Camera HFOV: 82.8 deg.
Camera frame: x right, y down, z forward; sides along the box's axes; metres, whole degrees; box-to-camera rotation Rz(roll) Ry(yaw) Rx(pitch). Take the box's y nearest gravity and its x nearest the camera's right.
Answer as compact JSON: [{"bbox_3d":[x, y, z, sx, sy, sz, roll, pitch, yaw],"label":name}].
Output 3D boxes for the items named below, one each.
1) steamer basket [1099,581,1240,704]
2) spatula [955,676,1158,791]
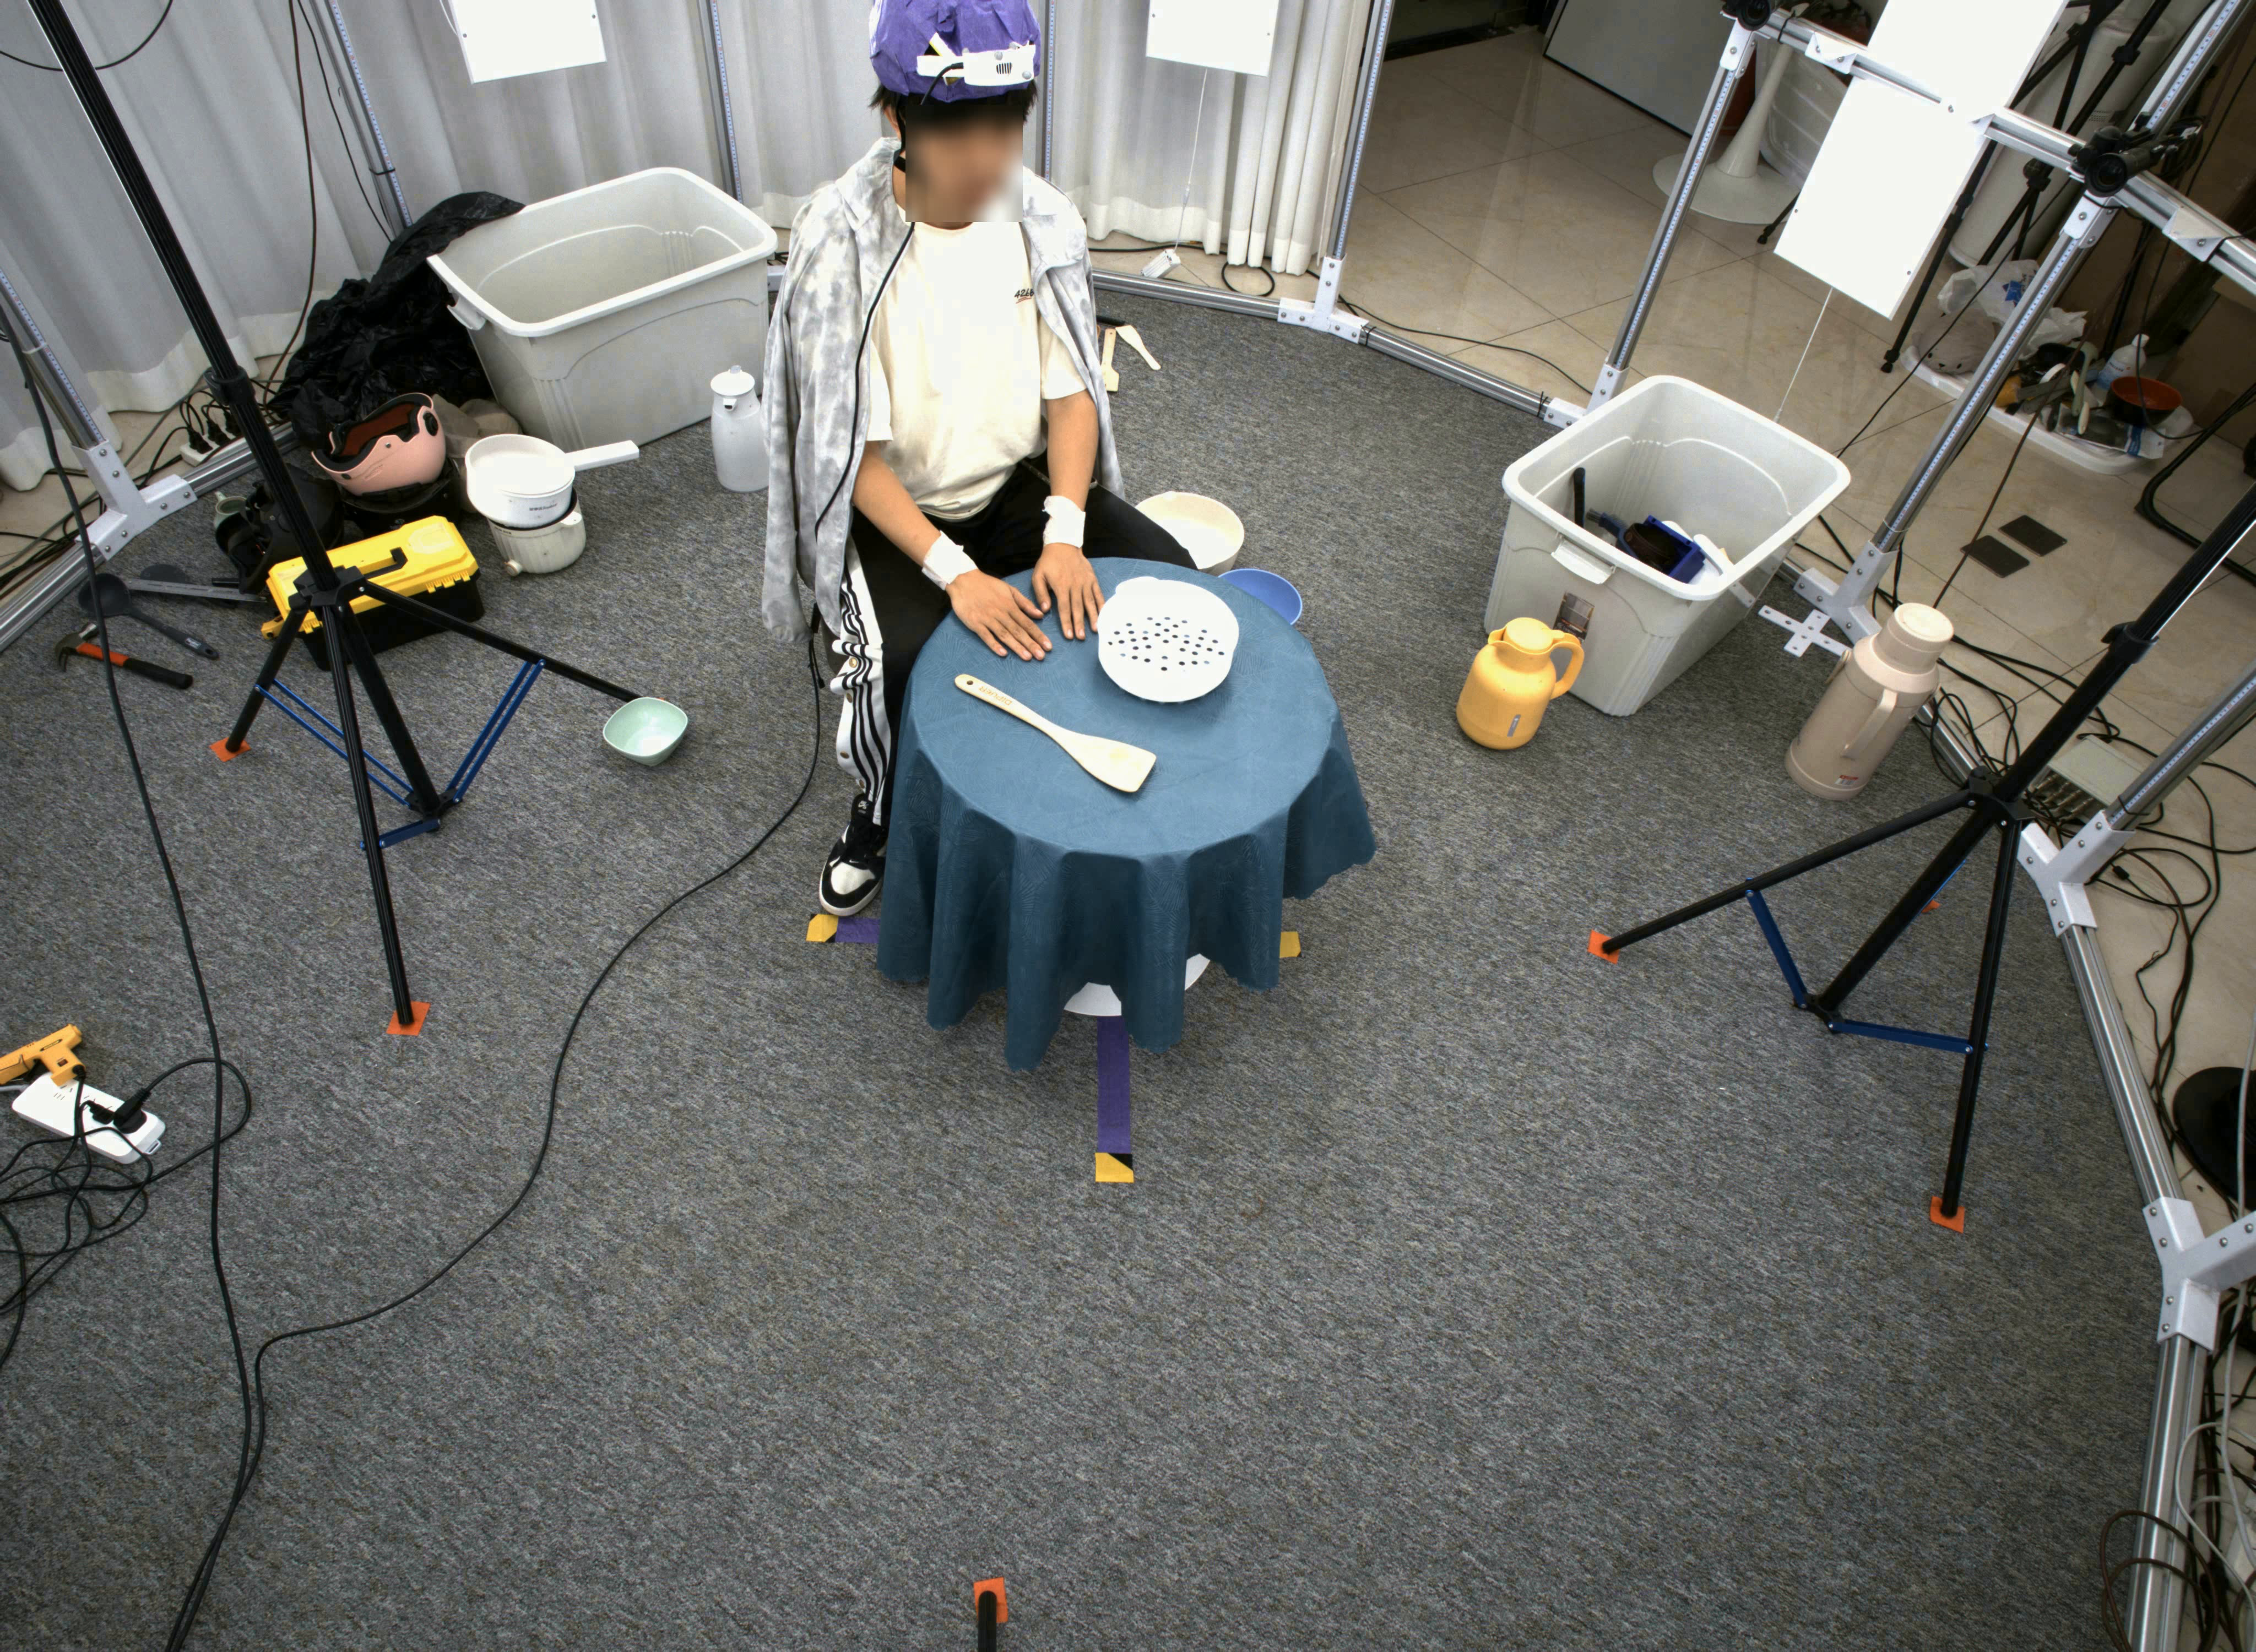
[{"bbox_3d":[0.058,-0.261,1.850,0.202,0.067,0.236,-17,51,-20],"label":"steamer basket"},{"bbox_3d":[-0.104,-0.137,1.760,0.331,0.016,0.081,29,52,20],"label":"spatula"}]
